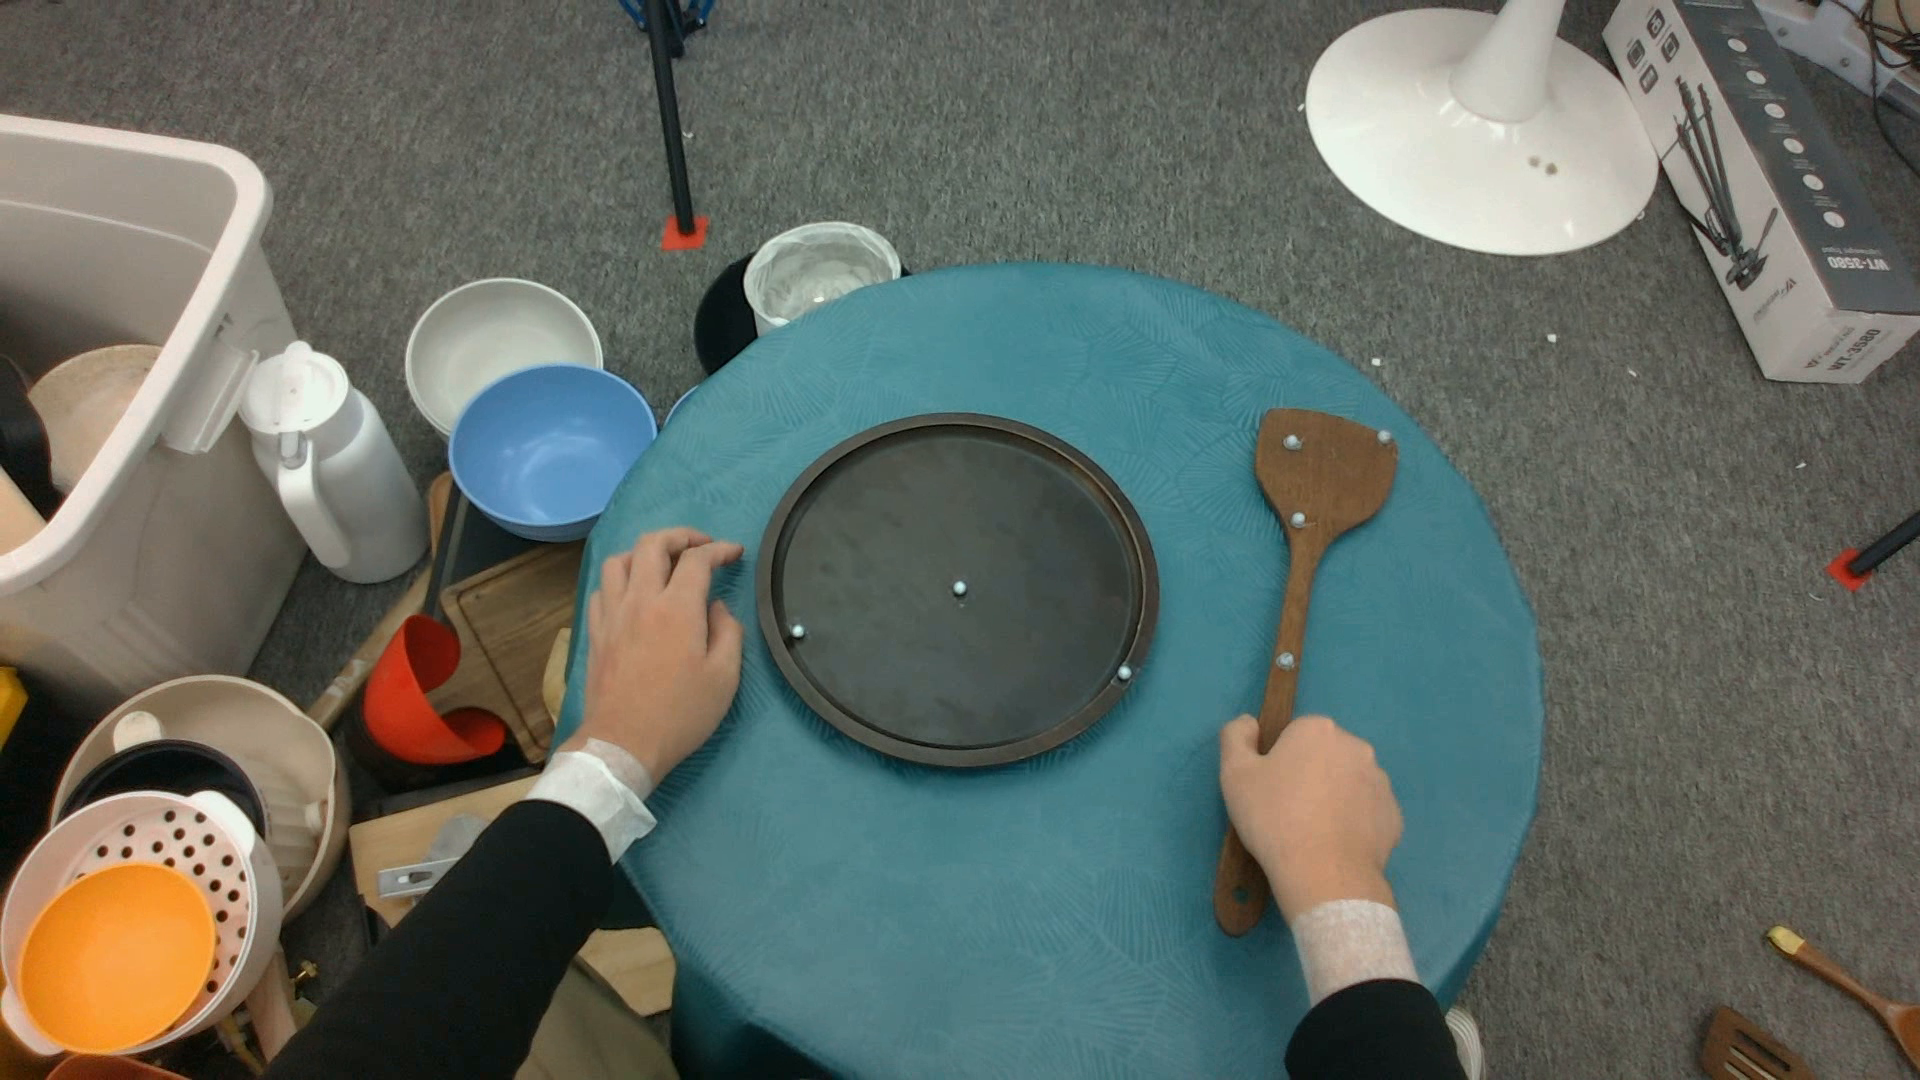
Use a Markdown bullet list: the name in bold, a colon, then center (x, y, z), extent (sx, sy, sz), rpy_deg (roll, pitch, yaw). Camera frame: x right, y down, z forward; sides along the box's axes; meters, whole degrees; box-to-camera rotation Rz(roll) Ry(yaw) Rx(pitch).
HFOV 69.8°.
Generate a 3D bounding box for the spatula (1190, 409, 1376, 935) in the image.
- **spatula**: center (0.189, 0.061, 0.845), extent (0.096, 0.016, 0.388), rpy_deg (16, 53, 6)

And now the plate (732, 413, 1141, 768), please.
- **plate**: center (-0.014, 0.026, 0.859), extent (0.255, 0.029, 0.256), rpy_deg (3, 57, -4)
